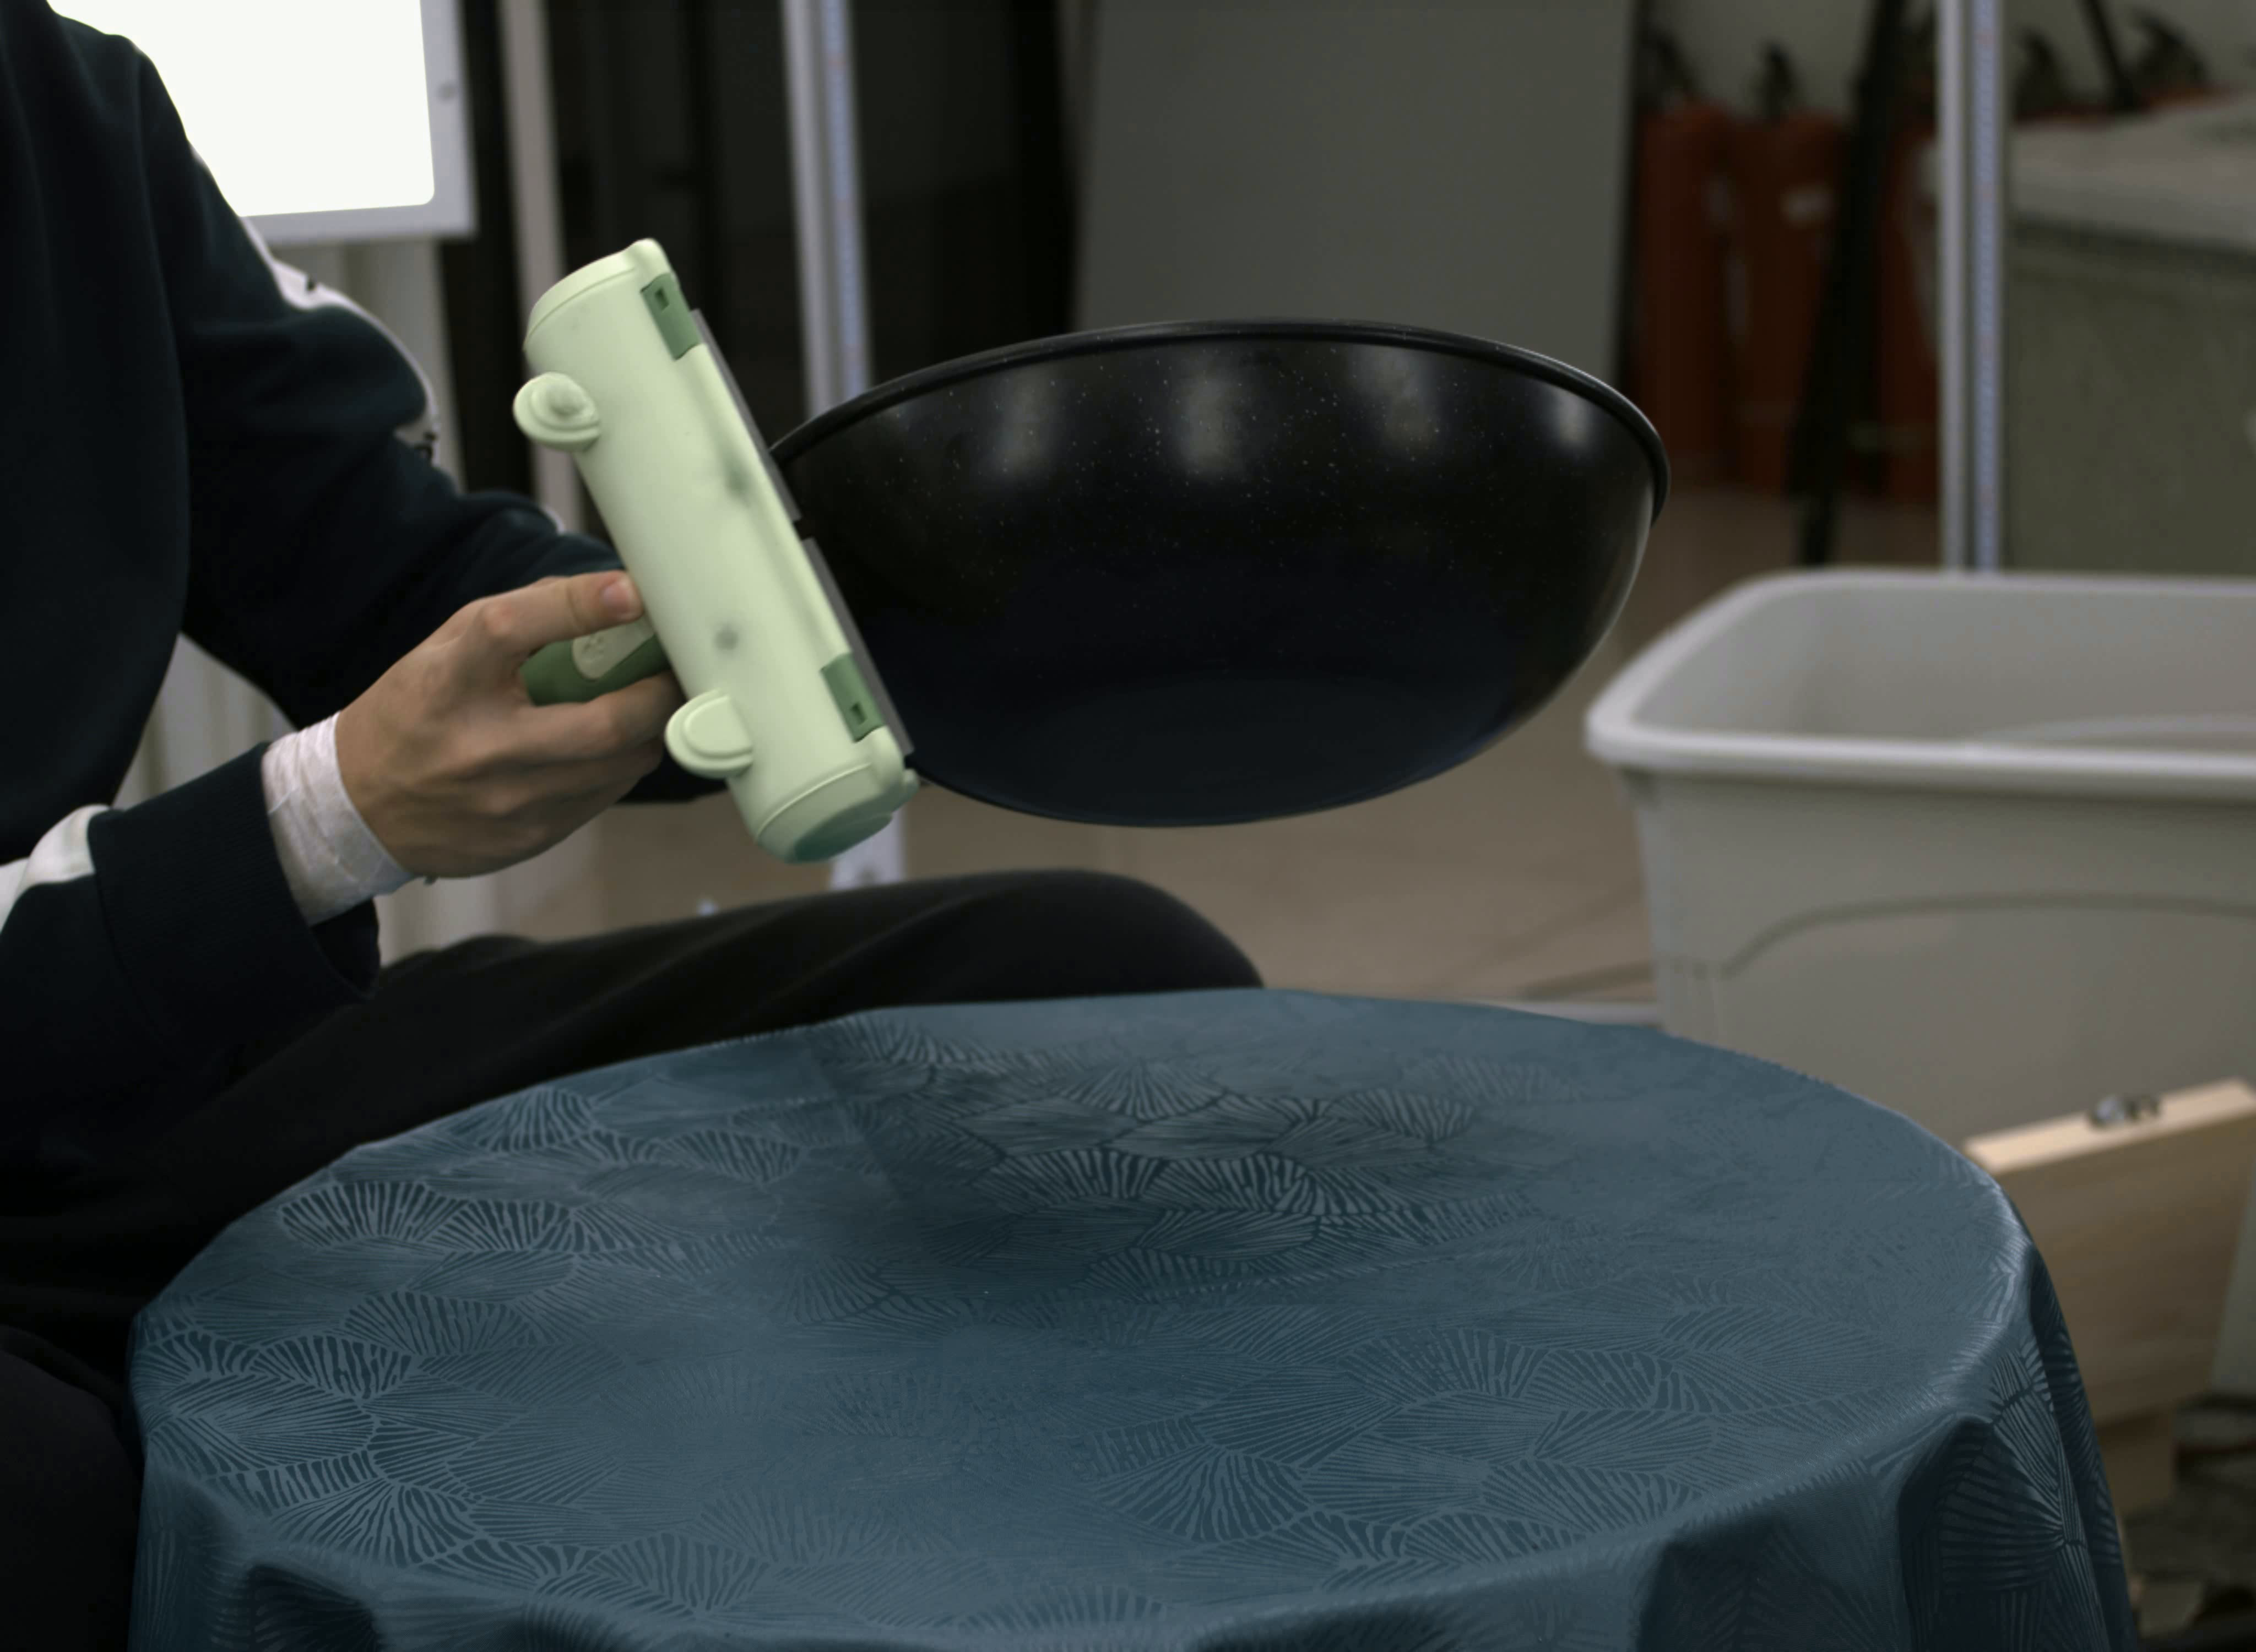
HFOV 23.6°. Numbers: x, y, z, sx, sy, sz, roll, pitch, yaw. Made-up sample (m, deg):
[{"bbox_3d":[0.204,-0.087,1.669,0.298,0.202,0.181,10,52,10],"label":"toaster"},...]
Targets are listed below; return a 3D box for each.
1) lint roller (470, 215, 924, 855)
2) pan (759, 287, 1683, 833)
[{"bbox_3d":[-0.165,-0.060,1.685,0.185,0.201,0.080,-36,-18,34],"label":"lint roller"},{"bbox_3d":[-0.012,-0.050,1.807,0.303,0.113,0.481,9,-23,-27],"label":"pan"}]
